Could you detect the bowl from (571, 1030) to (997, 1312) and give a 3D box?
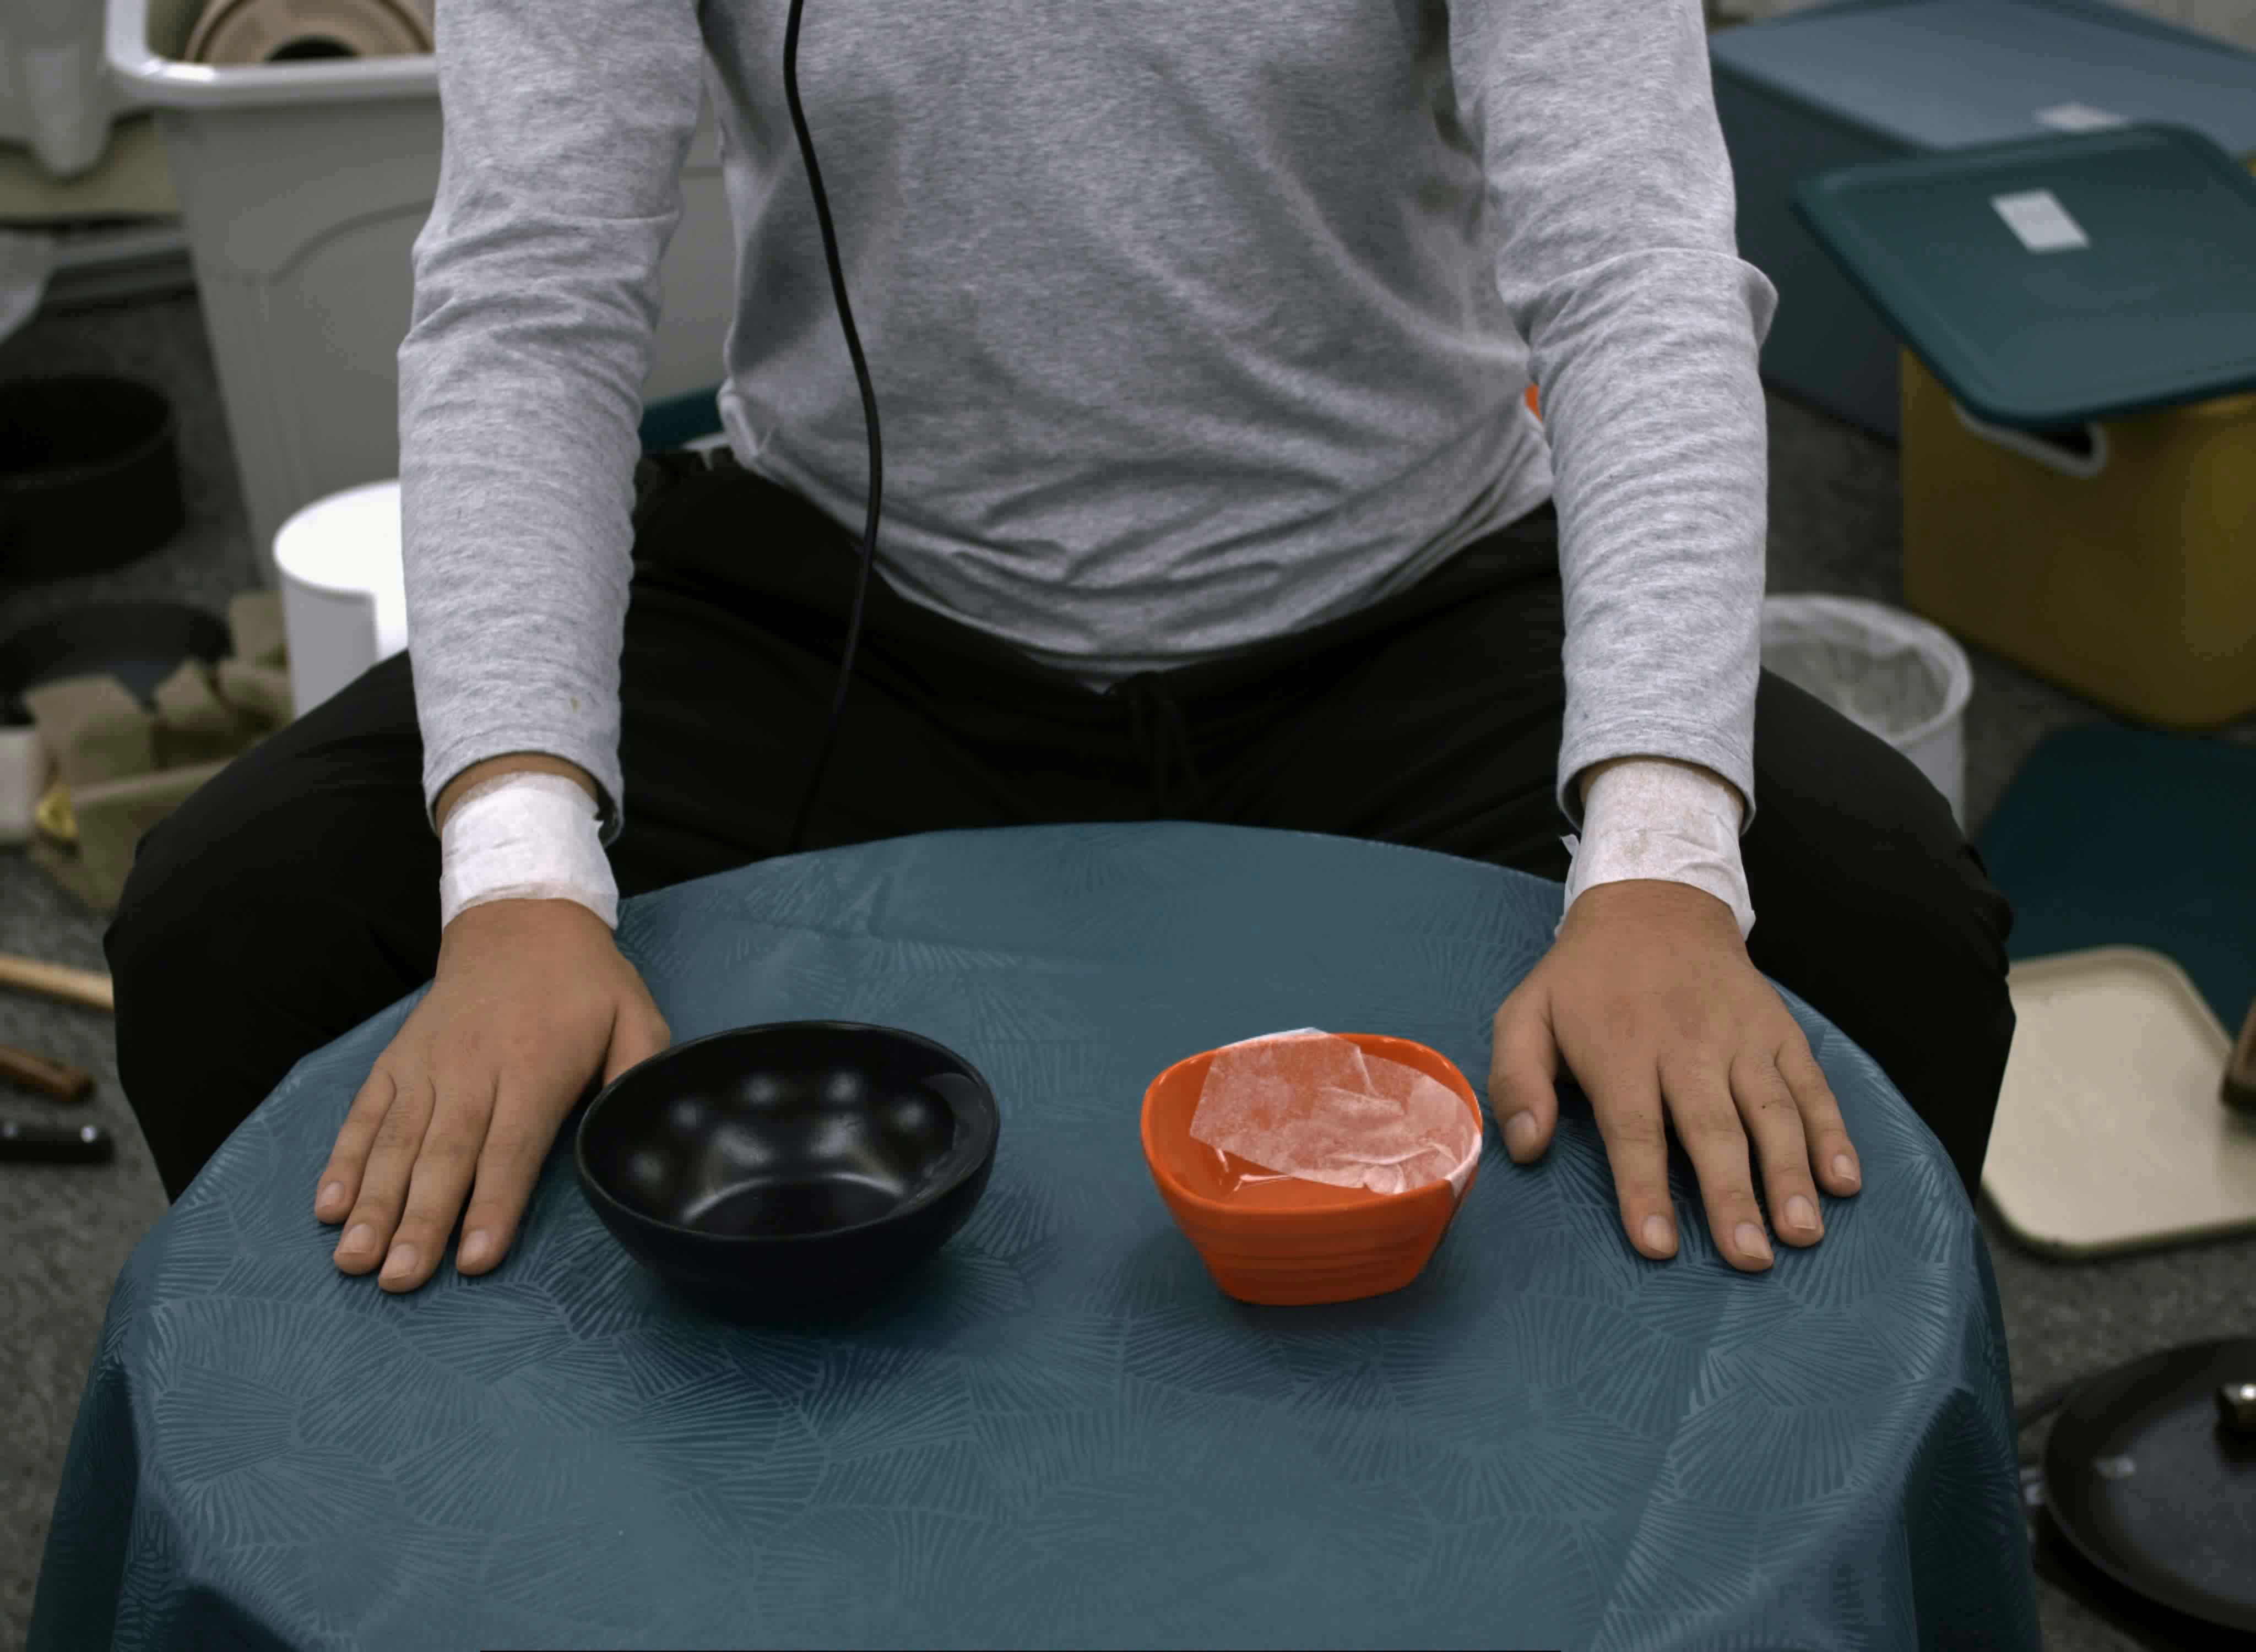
[{"bbox_3d":[-0.110,0.120,1.826,0.139,0.049,0.142,-2,24,1],"label":"bowl"}]

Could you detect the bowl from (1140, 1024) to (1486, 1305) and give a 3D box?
[{"bbox_3d":[0.060,0.114,1.813,0.118,0.051,0.121,-3,29,2],"label":"bowl"}]
